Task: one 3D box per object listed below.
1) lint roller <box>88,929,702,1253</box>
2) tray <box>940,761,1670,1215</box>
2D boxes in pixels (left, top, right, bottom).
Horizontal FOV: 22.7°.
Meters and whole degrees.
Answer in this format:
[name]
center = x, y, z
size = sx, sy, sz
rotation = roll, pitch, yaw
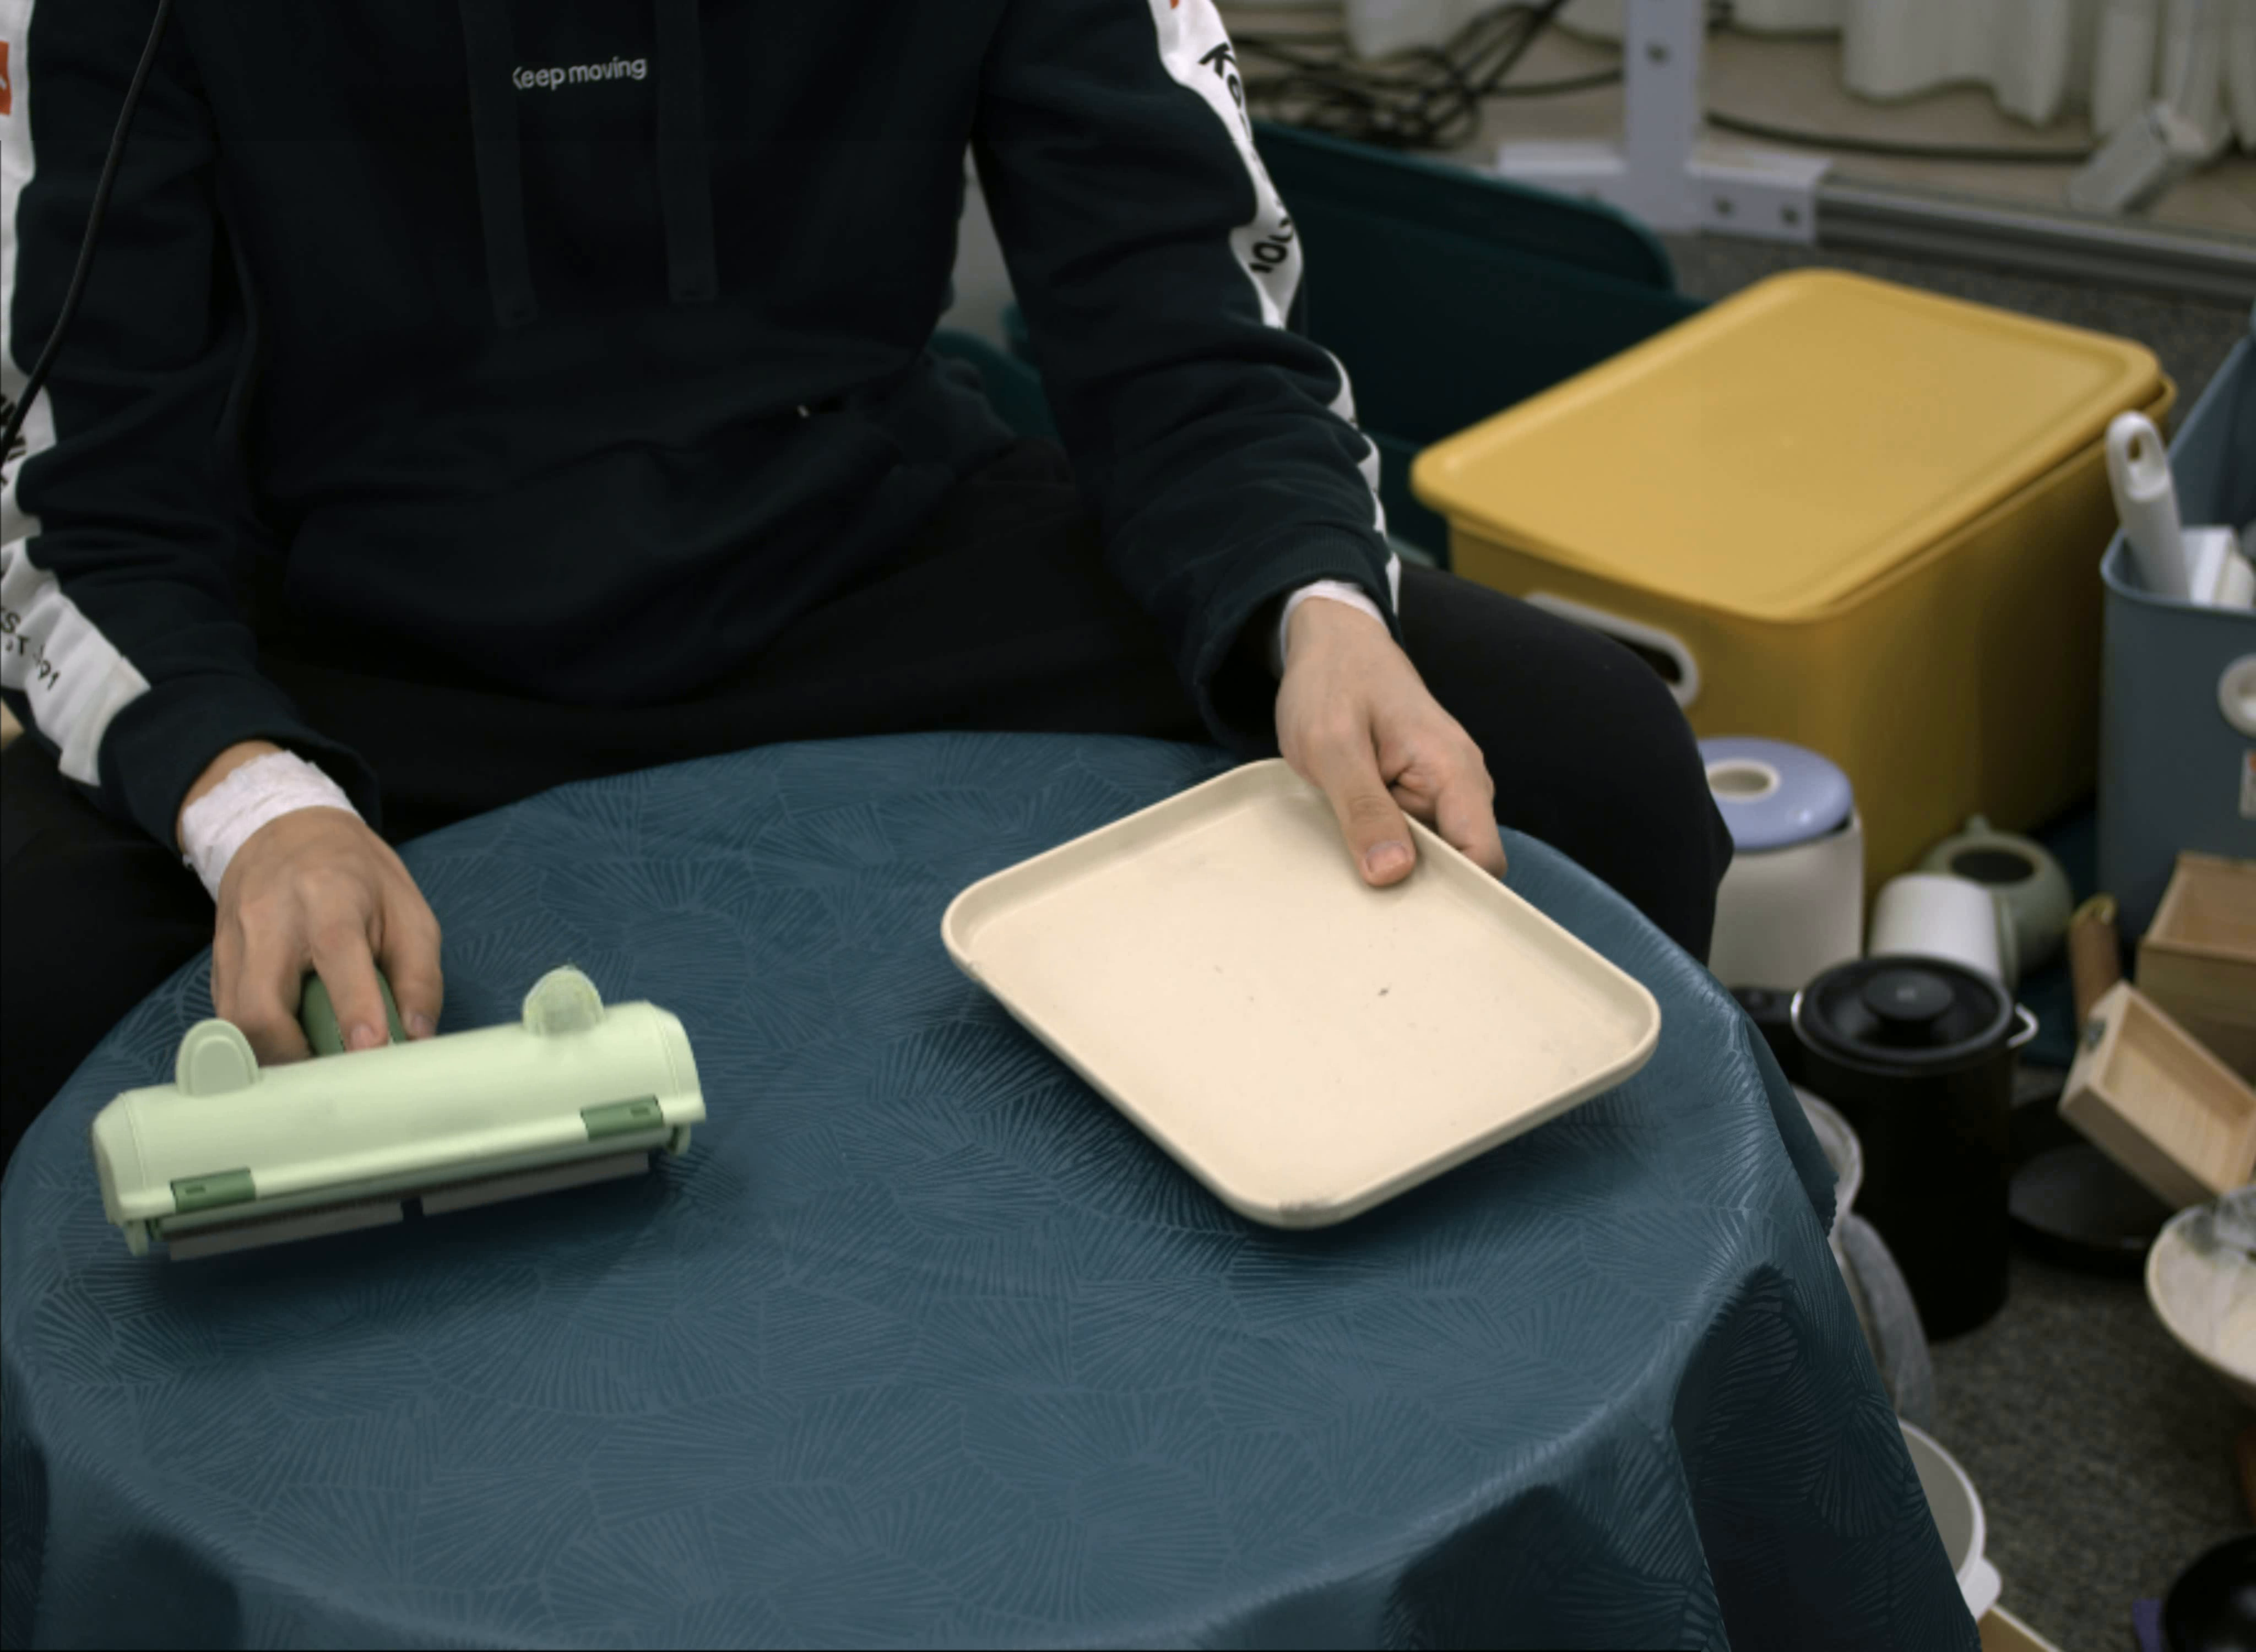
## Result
[lint roller]
center = -0.258, 0.063, 1.886
size = 0.199, 0.081, 0.185
rotation = -10, 33, -16
[tray]
center = 0.058, 0.054, 1.918
size = 0.172, 0.017, 0.240
rotation = -22, 35, -26
